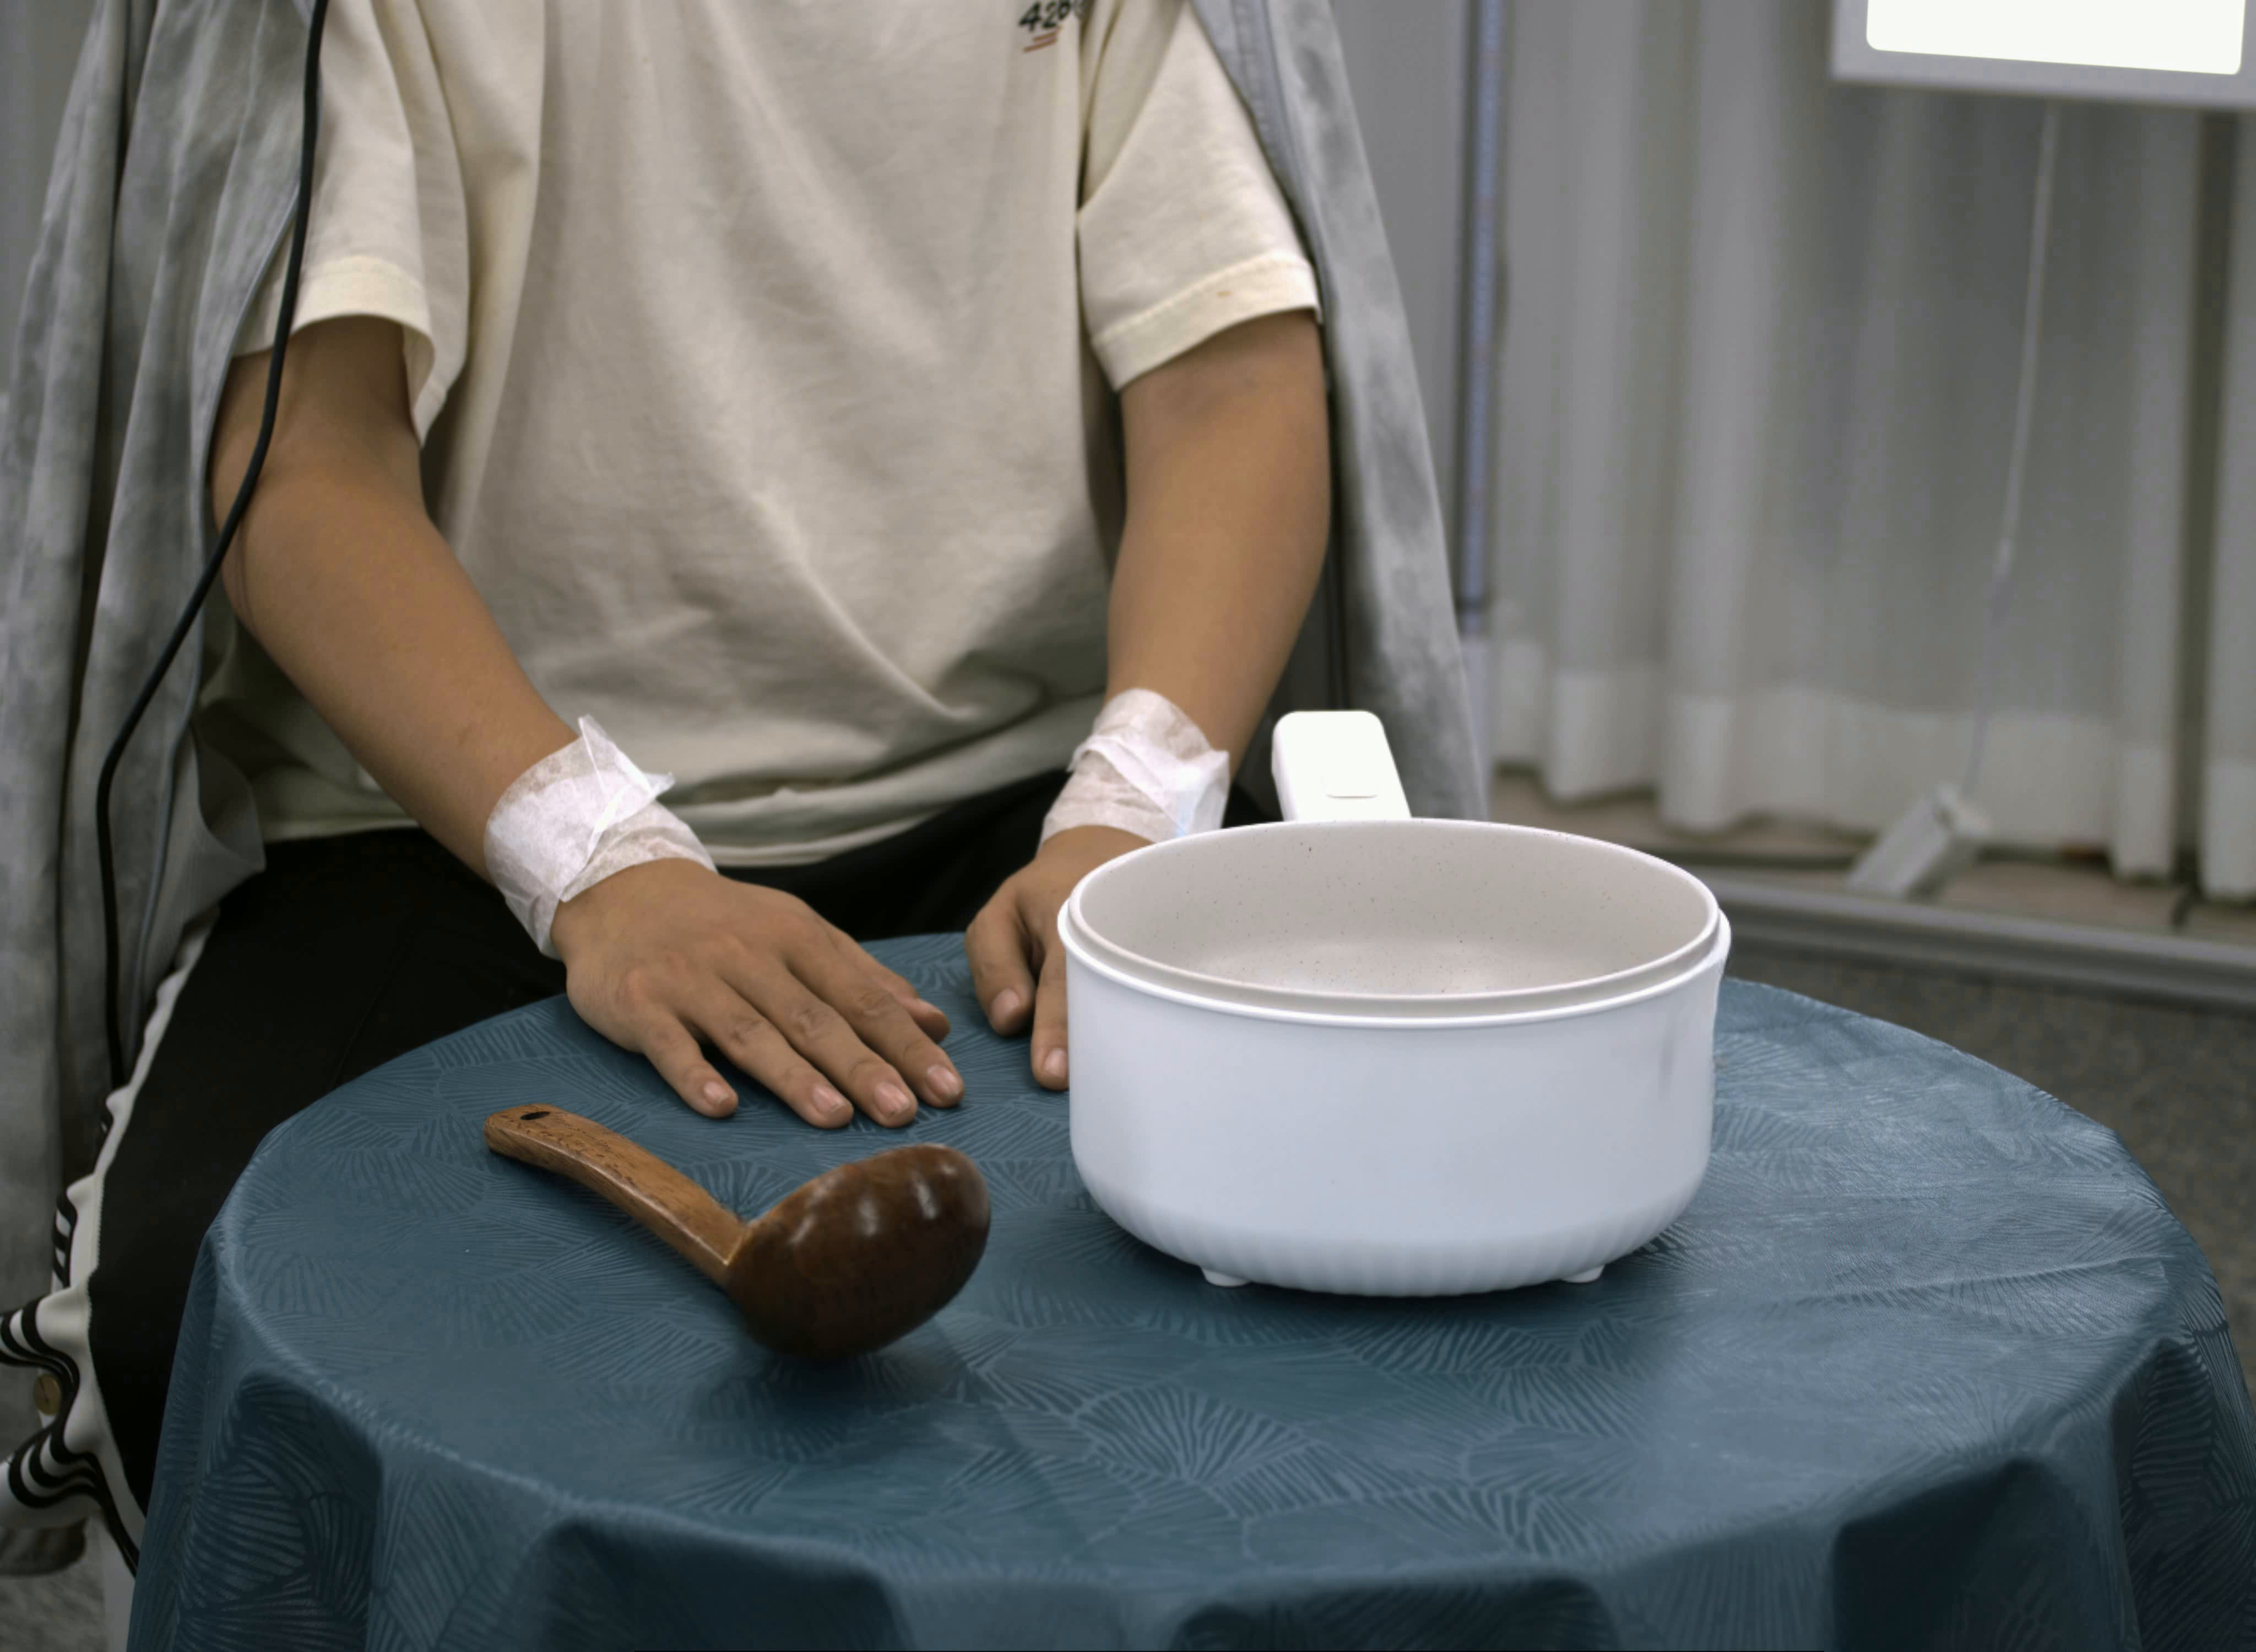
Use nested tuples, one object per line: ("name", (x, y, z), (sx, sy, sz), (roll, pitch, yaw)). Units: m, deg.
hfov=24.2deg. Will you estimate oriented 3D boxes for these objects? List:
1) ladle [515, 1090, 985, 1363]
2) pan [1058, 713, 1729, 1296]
("ladle", (-0.127, 0.093, 1.542), (0.082, 0.077, 0.270), (-9, 19, -27))
("pan", (0.077, 0.051, 1.663), (0.201, 0.103, 0.353), (-1, 15, -2))
